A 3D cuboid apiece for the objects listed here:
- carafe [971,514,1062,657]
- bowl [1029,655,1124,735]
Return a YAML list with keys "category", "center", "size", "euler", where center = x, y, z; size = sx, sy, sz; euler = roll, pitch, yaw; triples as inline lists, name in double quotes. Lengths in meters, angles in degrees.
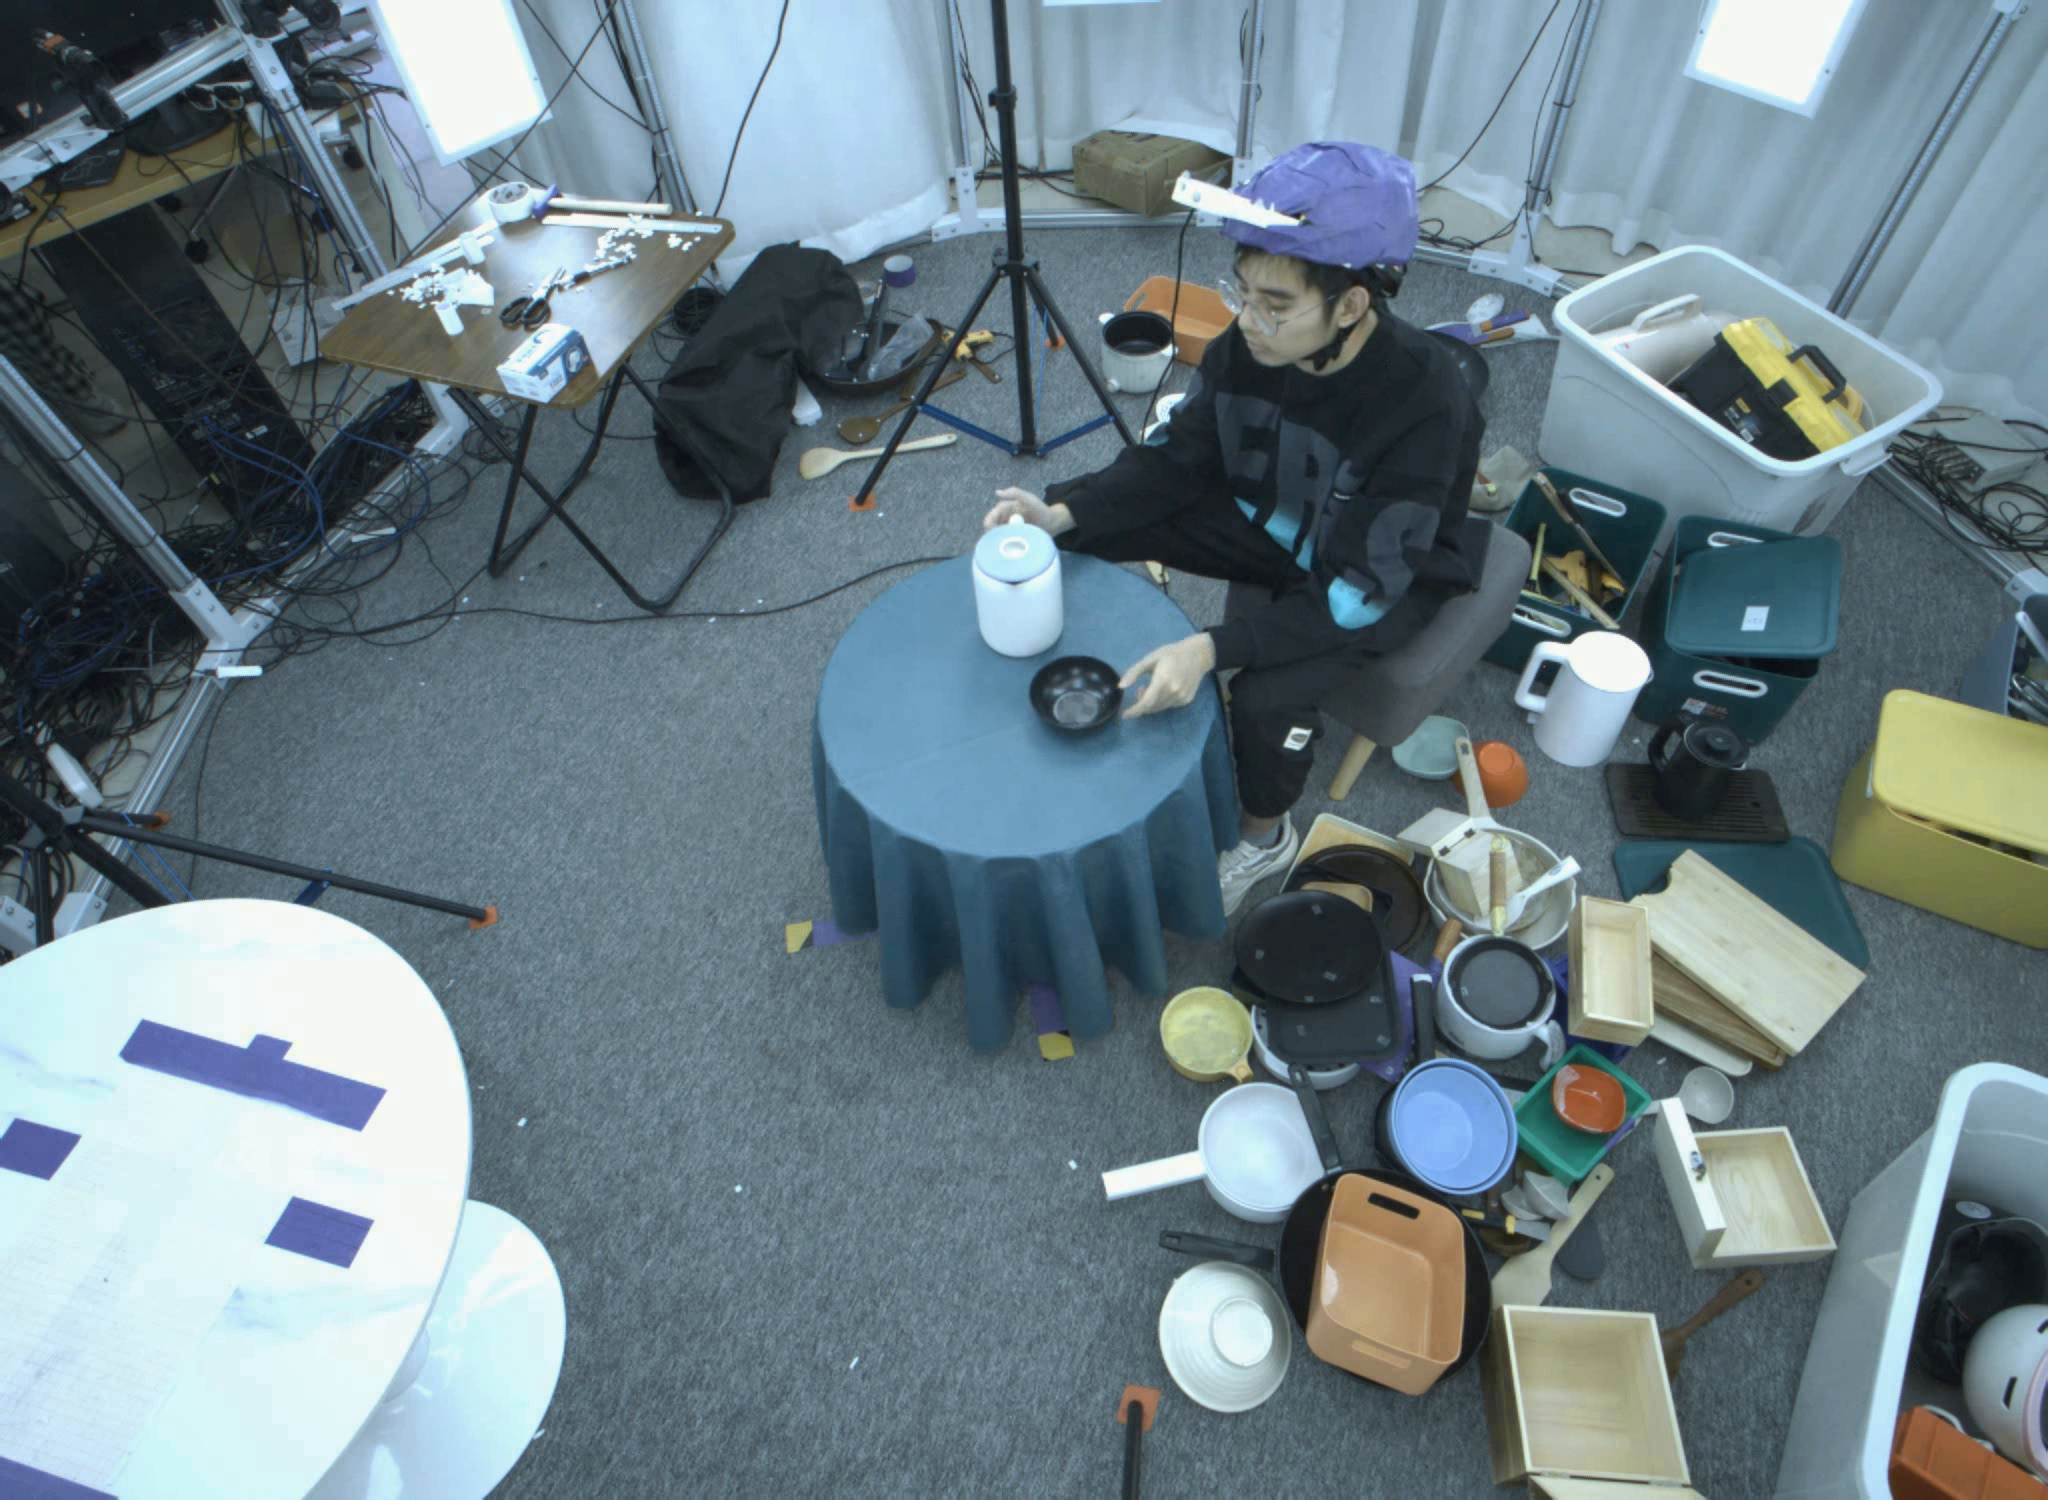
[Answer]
- category: "carafe"
  center: [-0.011, -0.260, 1.863]
  size: [0.132, 0.184, 0.189]
  euler: [-3, 52, 0]
- category: "bowl"
  center: [0.077, -0.071, 1.801]
  size: [0.140, 0.050, 0.138]
  euler: [0, 53, 1]
